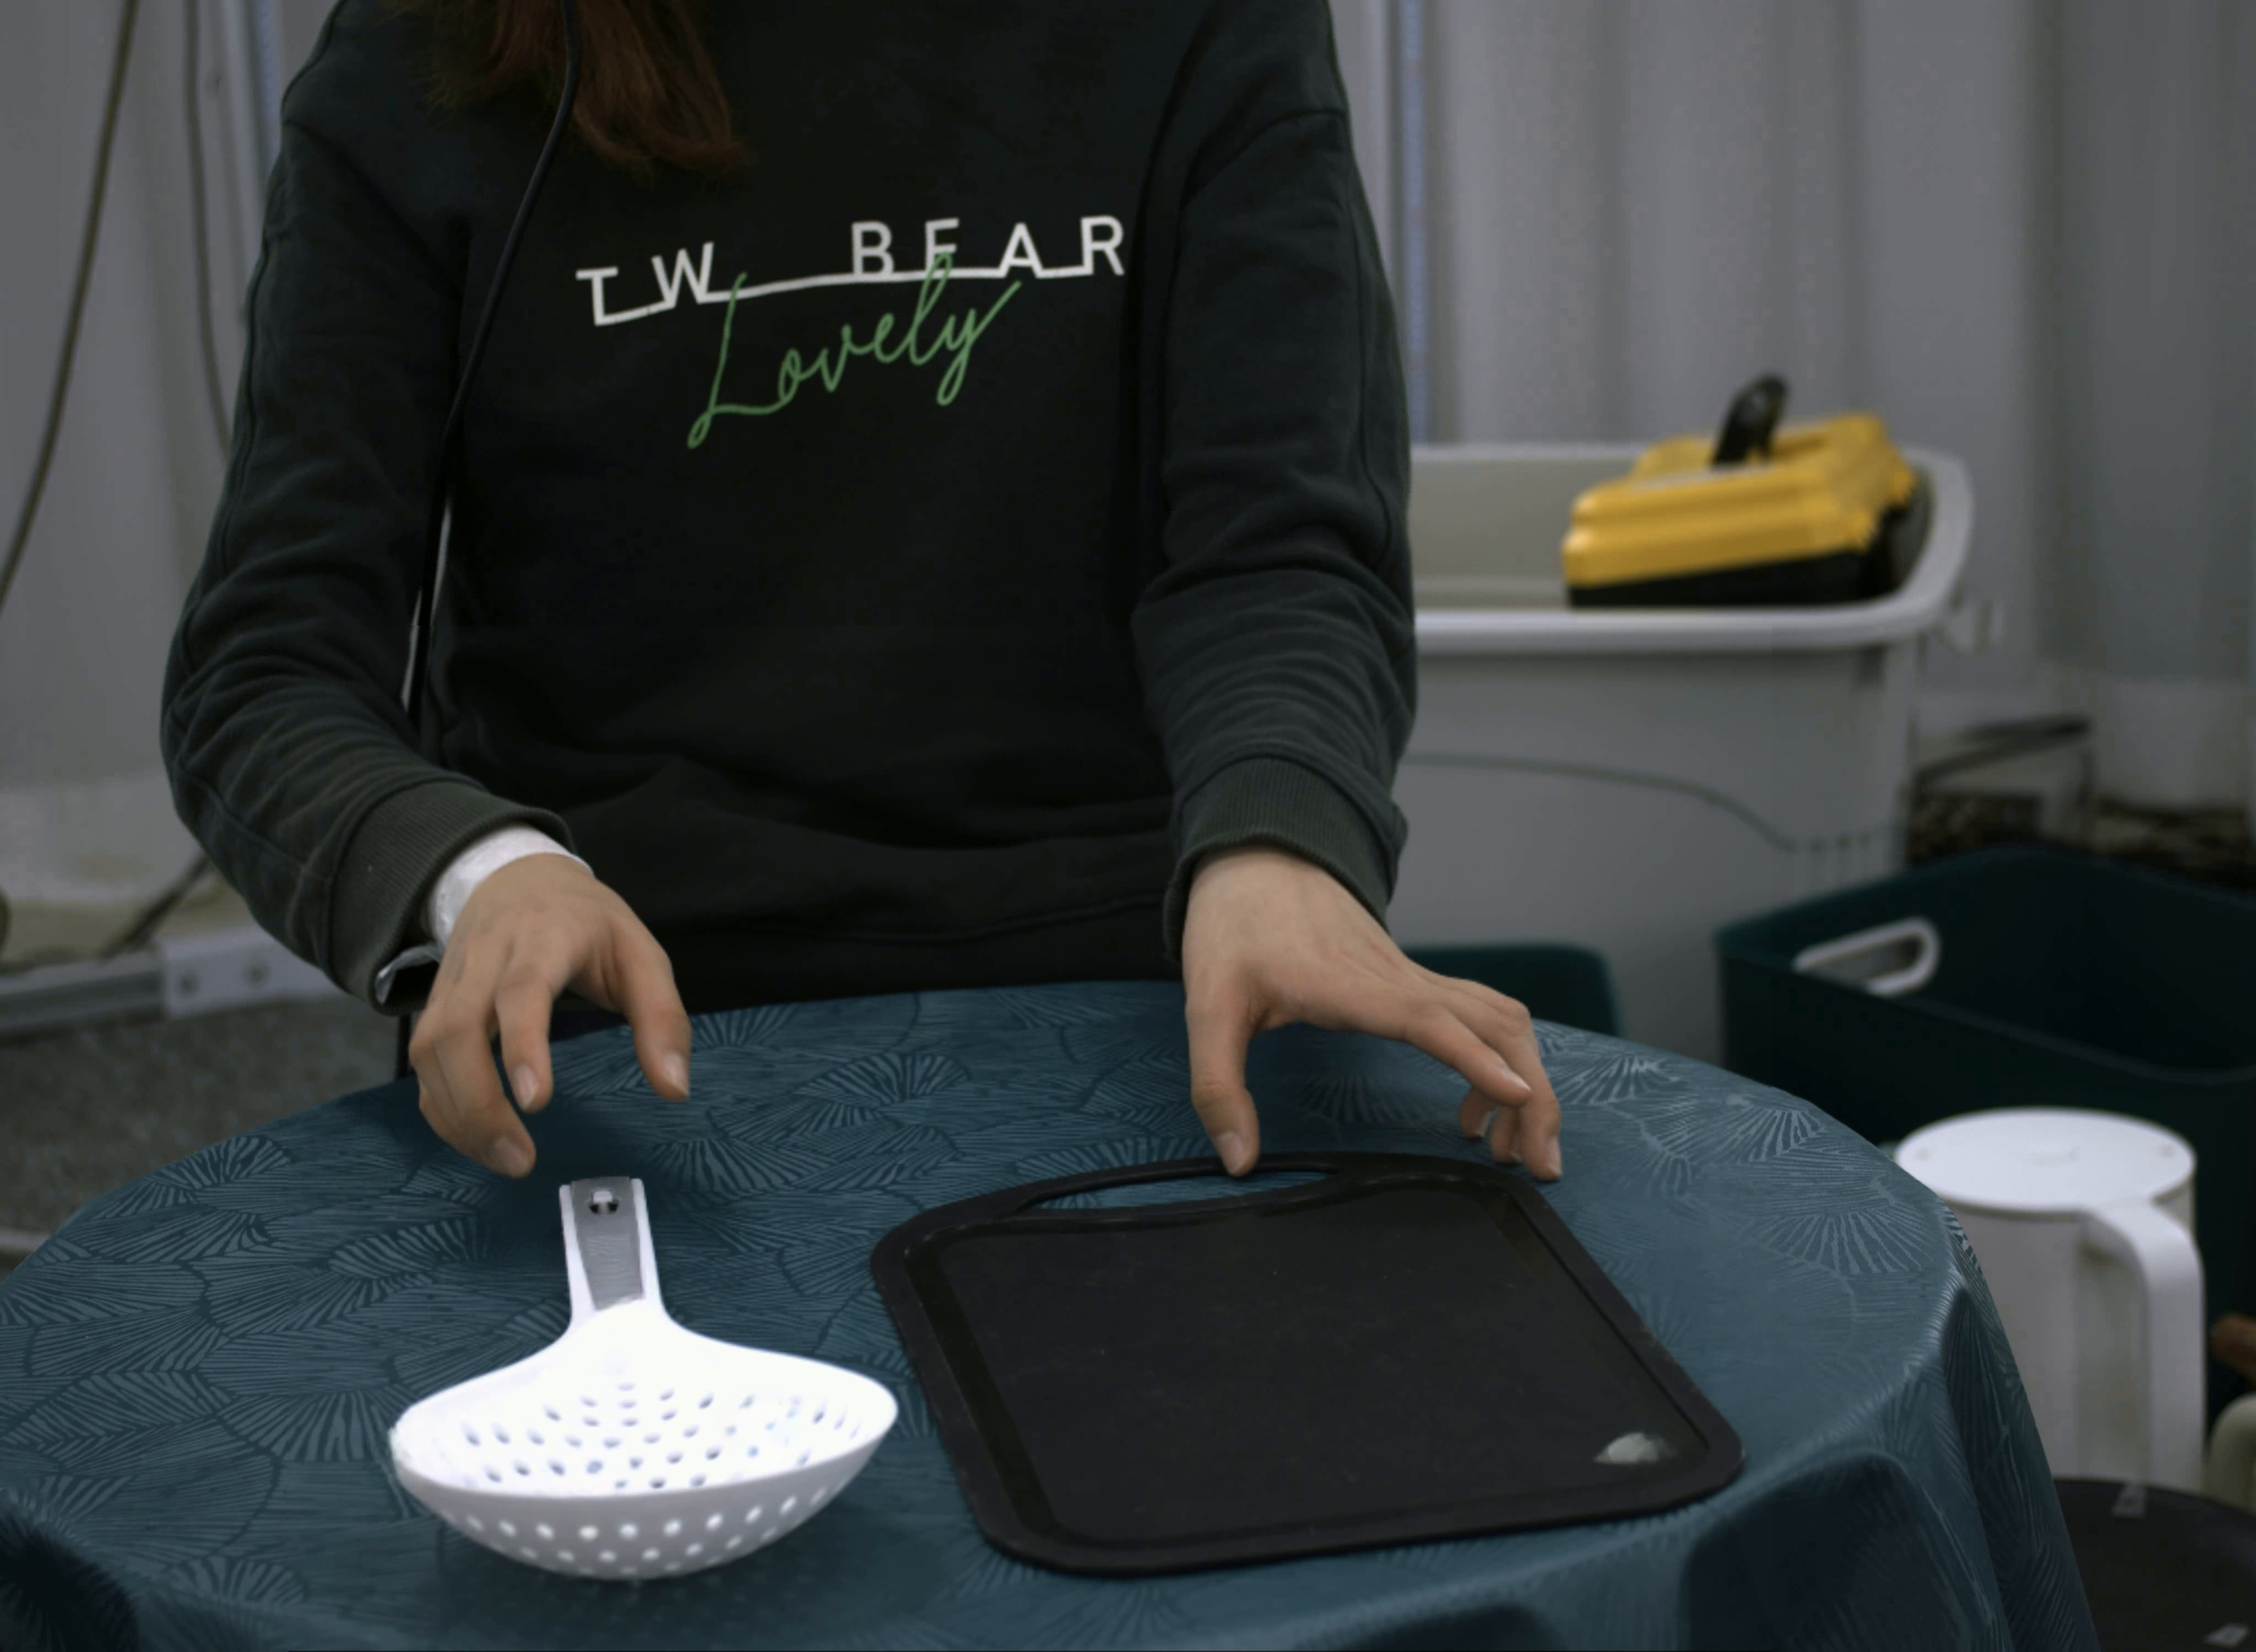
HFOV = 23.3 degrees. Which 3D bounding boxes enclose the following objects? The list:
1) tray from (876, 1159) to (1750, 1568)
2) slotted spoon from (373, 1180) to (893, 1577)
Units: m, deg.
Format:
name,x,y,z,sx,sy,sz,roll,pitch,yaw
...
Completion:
name,x,y,z,sx,sy,sz,roll,pitch,yaw
tray,0.043,0.147,1.574,0.210,0.010,0.328,-5,15,-9
slotted spoon,-0.142,0.146,1.537,0.135,0.045,0.352,-3,14,-7
